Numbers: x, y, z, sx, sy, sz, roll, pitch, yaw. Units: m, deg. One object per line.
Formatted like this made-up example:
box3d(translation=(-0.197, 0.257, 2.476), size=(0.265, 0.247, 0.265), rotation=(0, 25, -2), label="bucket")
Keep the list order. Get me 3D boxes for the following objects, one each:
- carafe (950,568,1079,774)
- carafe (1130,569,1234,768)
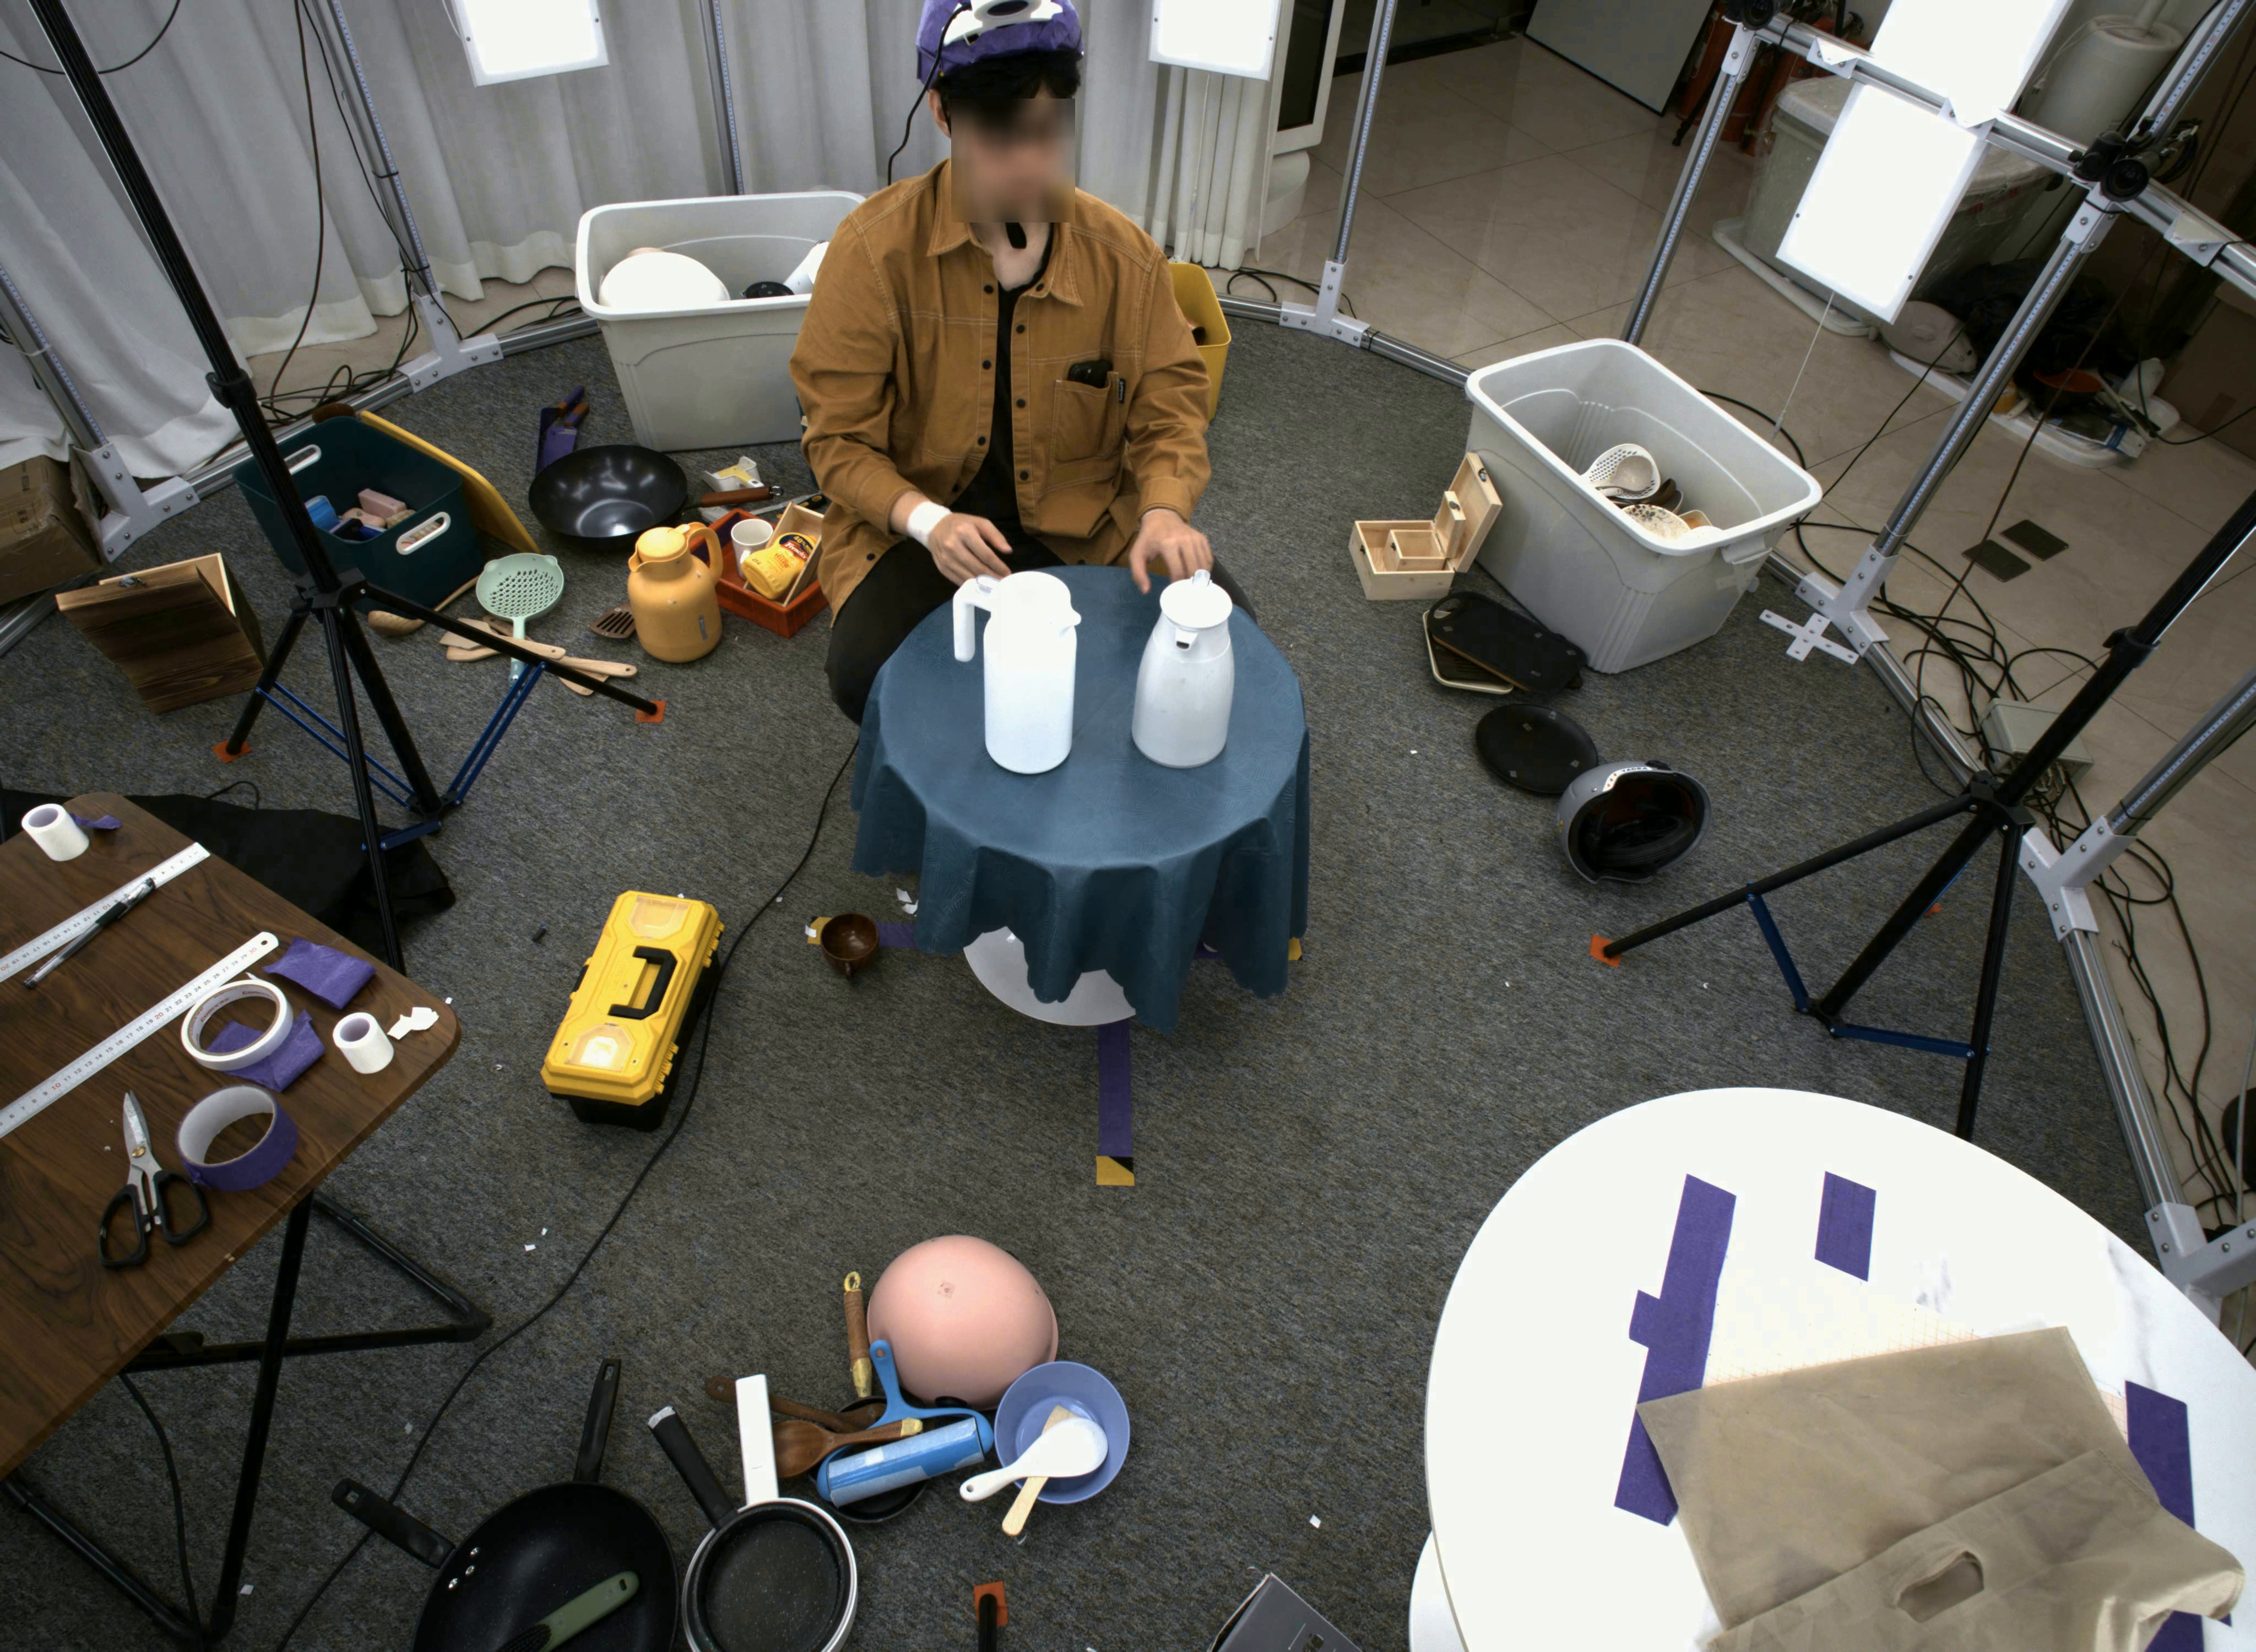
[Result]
box3d(translation=(-0.145, -0.200, 1.662), size=(0.174, 0.262, 0.126), rotation=(21, 53, 14), label="carafe")
box3d(translation=(0.081, -0.221, 1.706), size=(0.133, 0.242, 0.171), rotation=(13, 49, 7), label="carafe")
